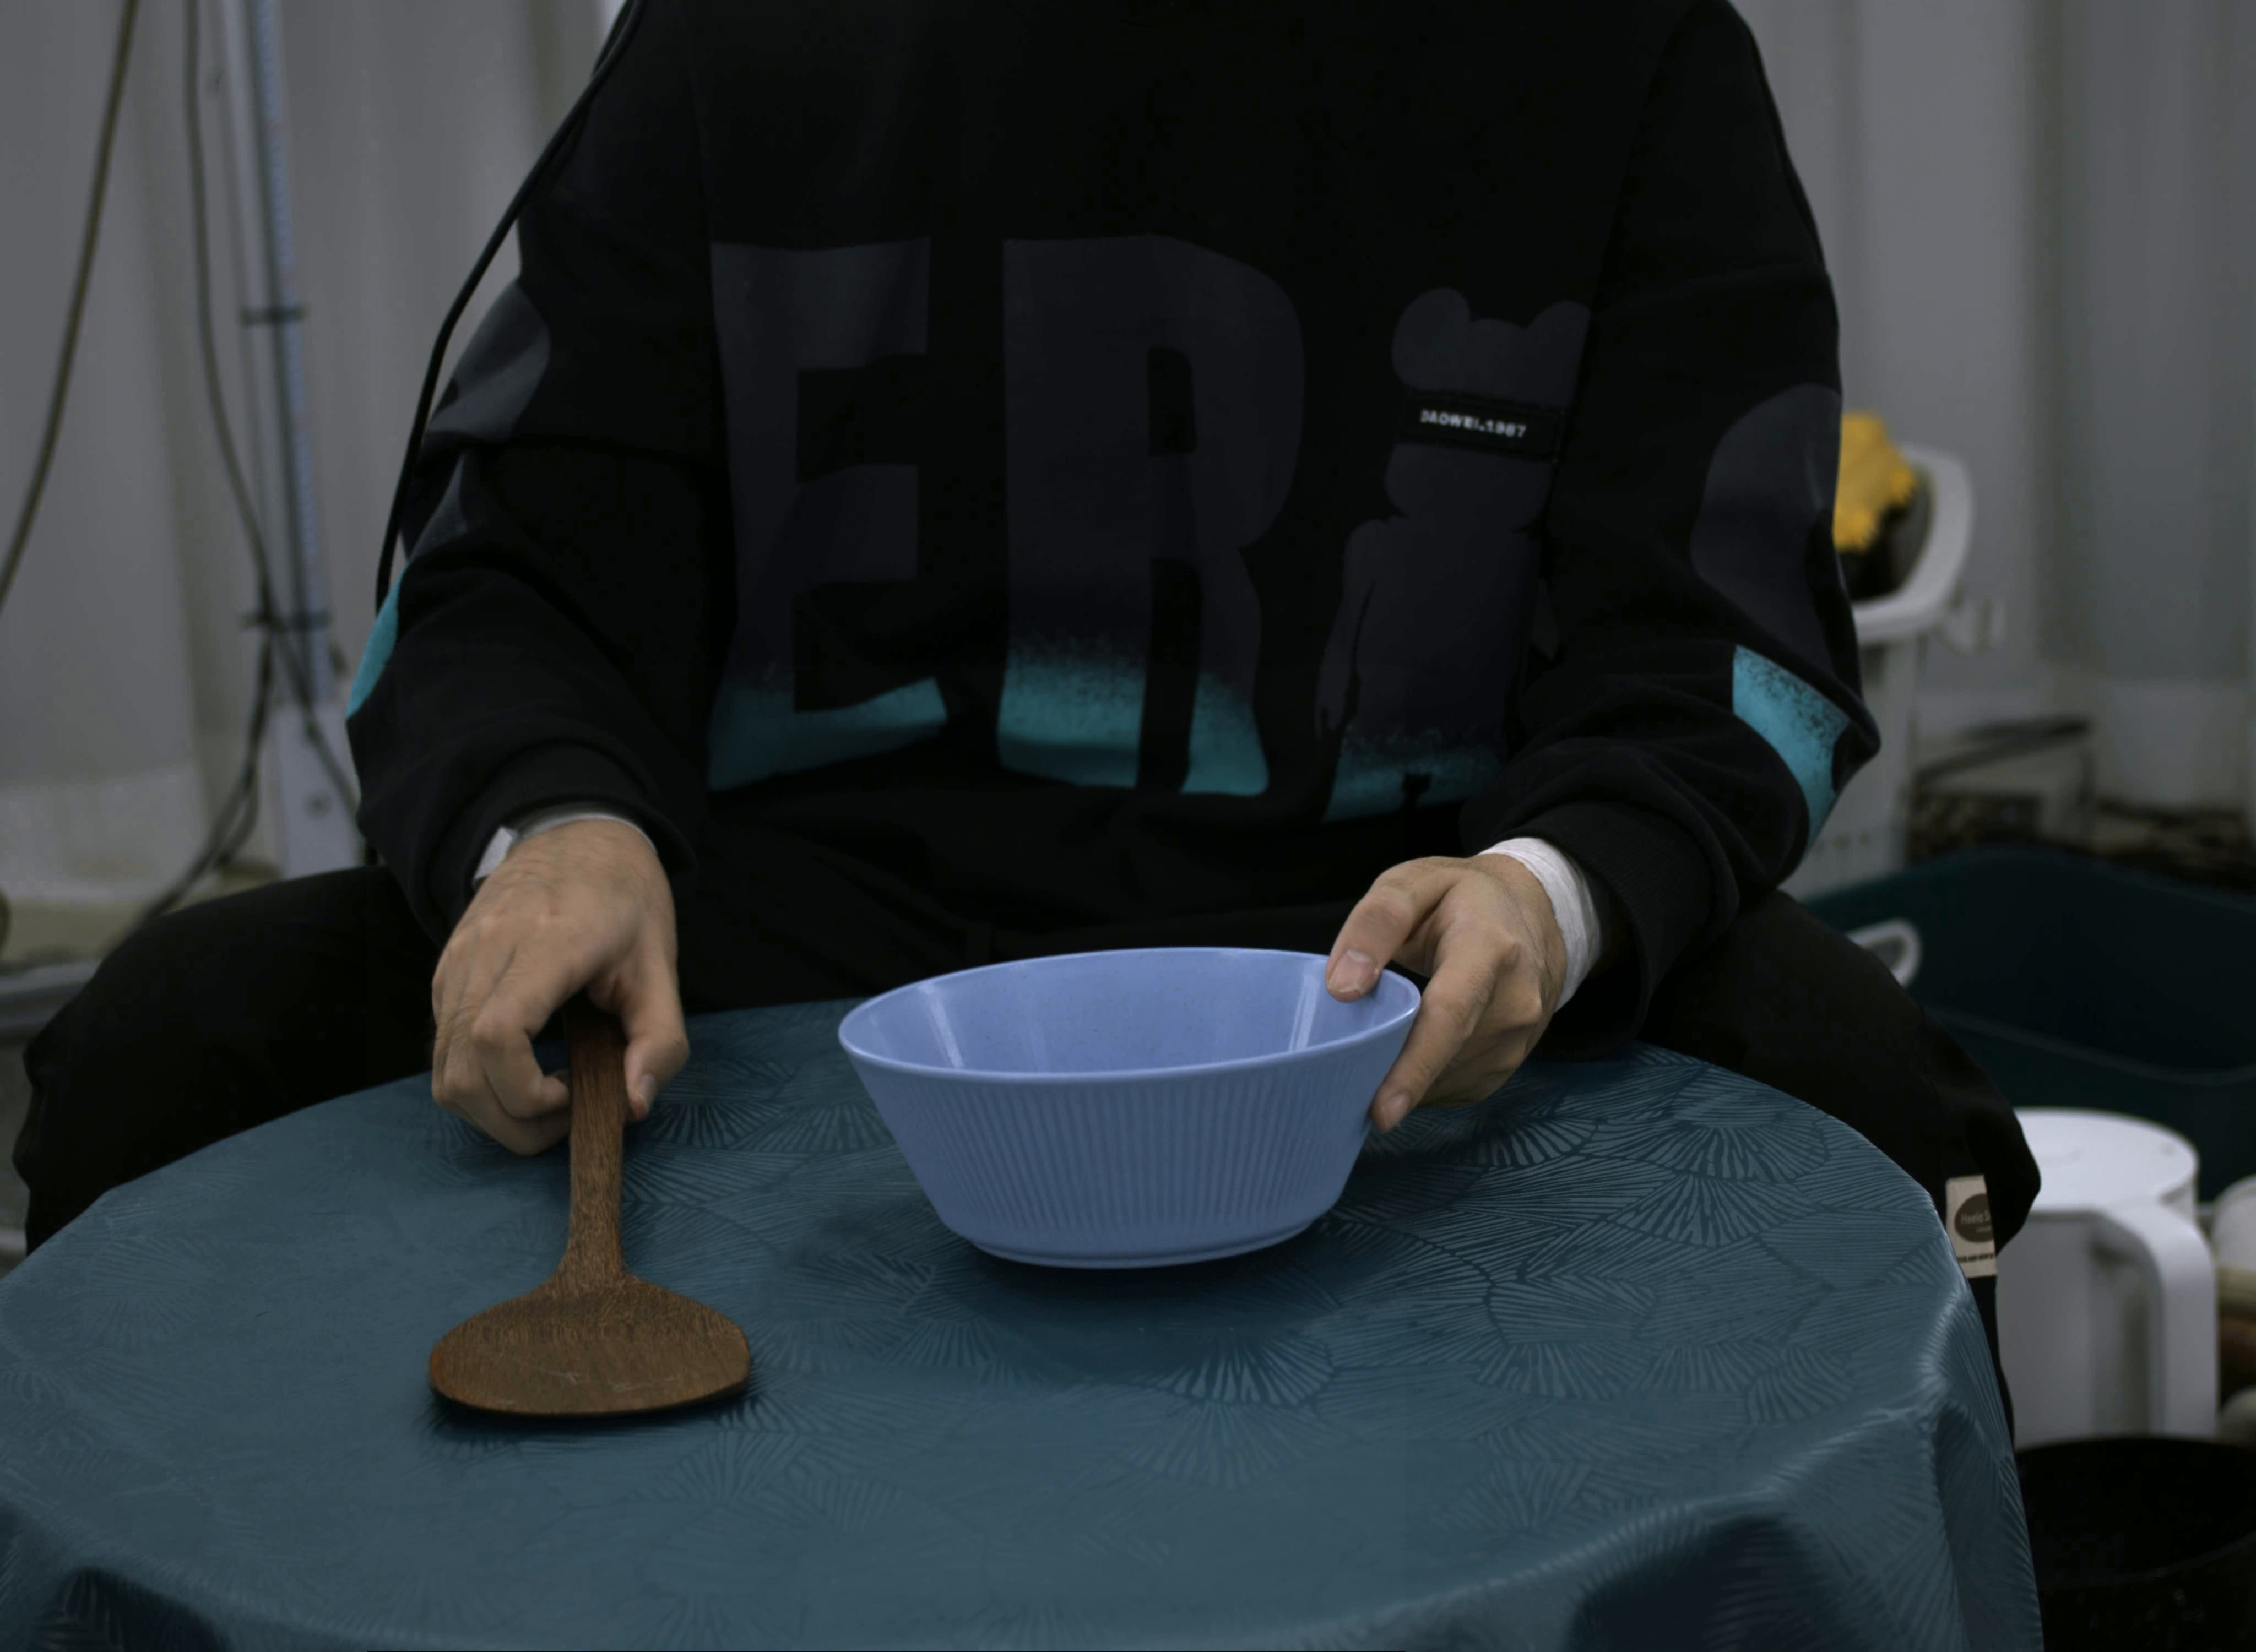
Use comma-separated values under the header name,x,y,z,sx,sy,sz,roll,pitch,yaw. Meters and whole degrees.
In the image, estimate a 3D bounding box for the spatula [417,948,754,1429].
name,x,y,z,sx,sy,sz,roll,pitch,yaw
spatula,-0.167,0.106,1.715,0.096,0.015,0.389,-2,19,-4

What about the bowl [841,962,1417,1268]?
name,x,y,z,sx,sy,sz,roll,pitch,yaw
bowl,0.002,0.088,1.657,0.175,0.070,0.177,-3,9,0
